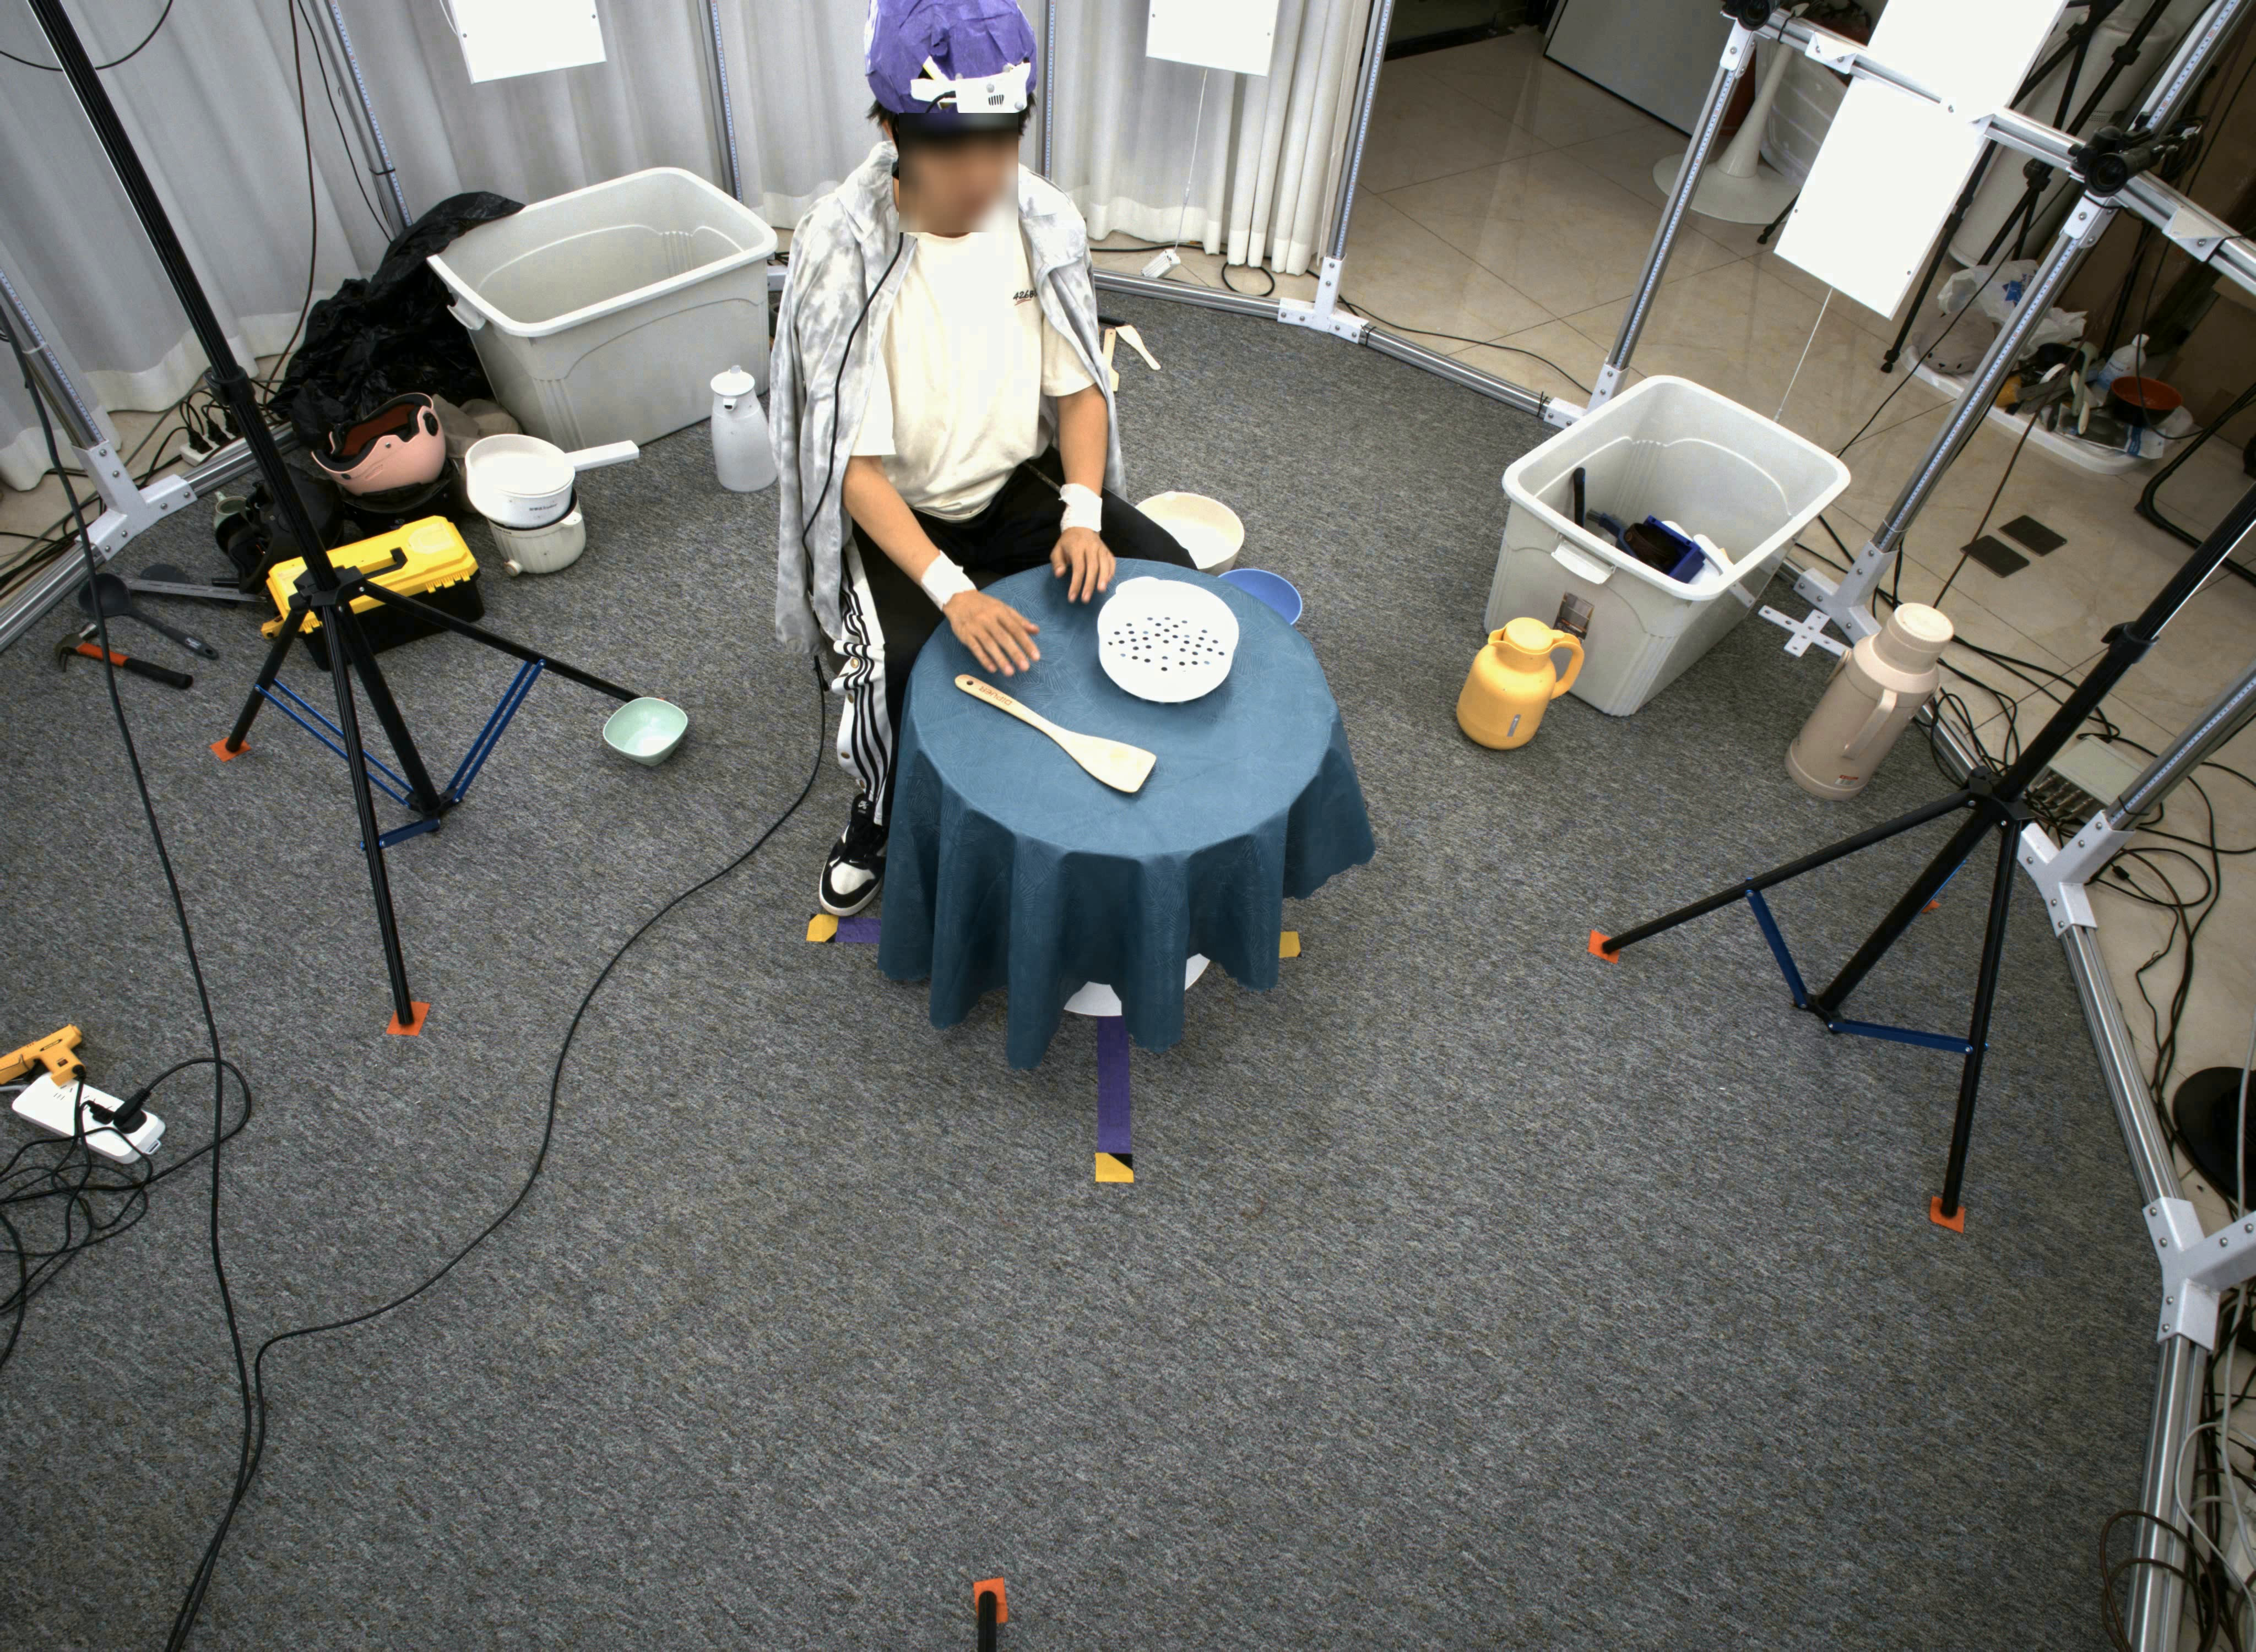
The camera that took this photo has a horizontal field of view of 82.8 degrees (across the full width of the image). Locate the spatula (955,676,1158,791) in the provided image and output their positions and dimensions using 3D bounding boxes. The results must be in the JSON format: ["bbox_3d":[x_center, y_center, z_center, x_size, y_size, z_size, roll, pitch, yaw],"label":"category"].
[{"bbox_3d":[-0.104,-0.137,1.760,0.331,0.016,0.081,29,52,20],"label":"spatula"}]

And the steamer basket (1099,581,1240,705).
[{"bbox_3d":[0.058,-0.261,1.850,0.202,0.067,0.236,-17,51,-20],"label":"steamer basket"}]
